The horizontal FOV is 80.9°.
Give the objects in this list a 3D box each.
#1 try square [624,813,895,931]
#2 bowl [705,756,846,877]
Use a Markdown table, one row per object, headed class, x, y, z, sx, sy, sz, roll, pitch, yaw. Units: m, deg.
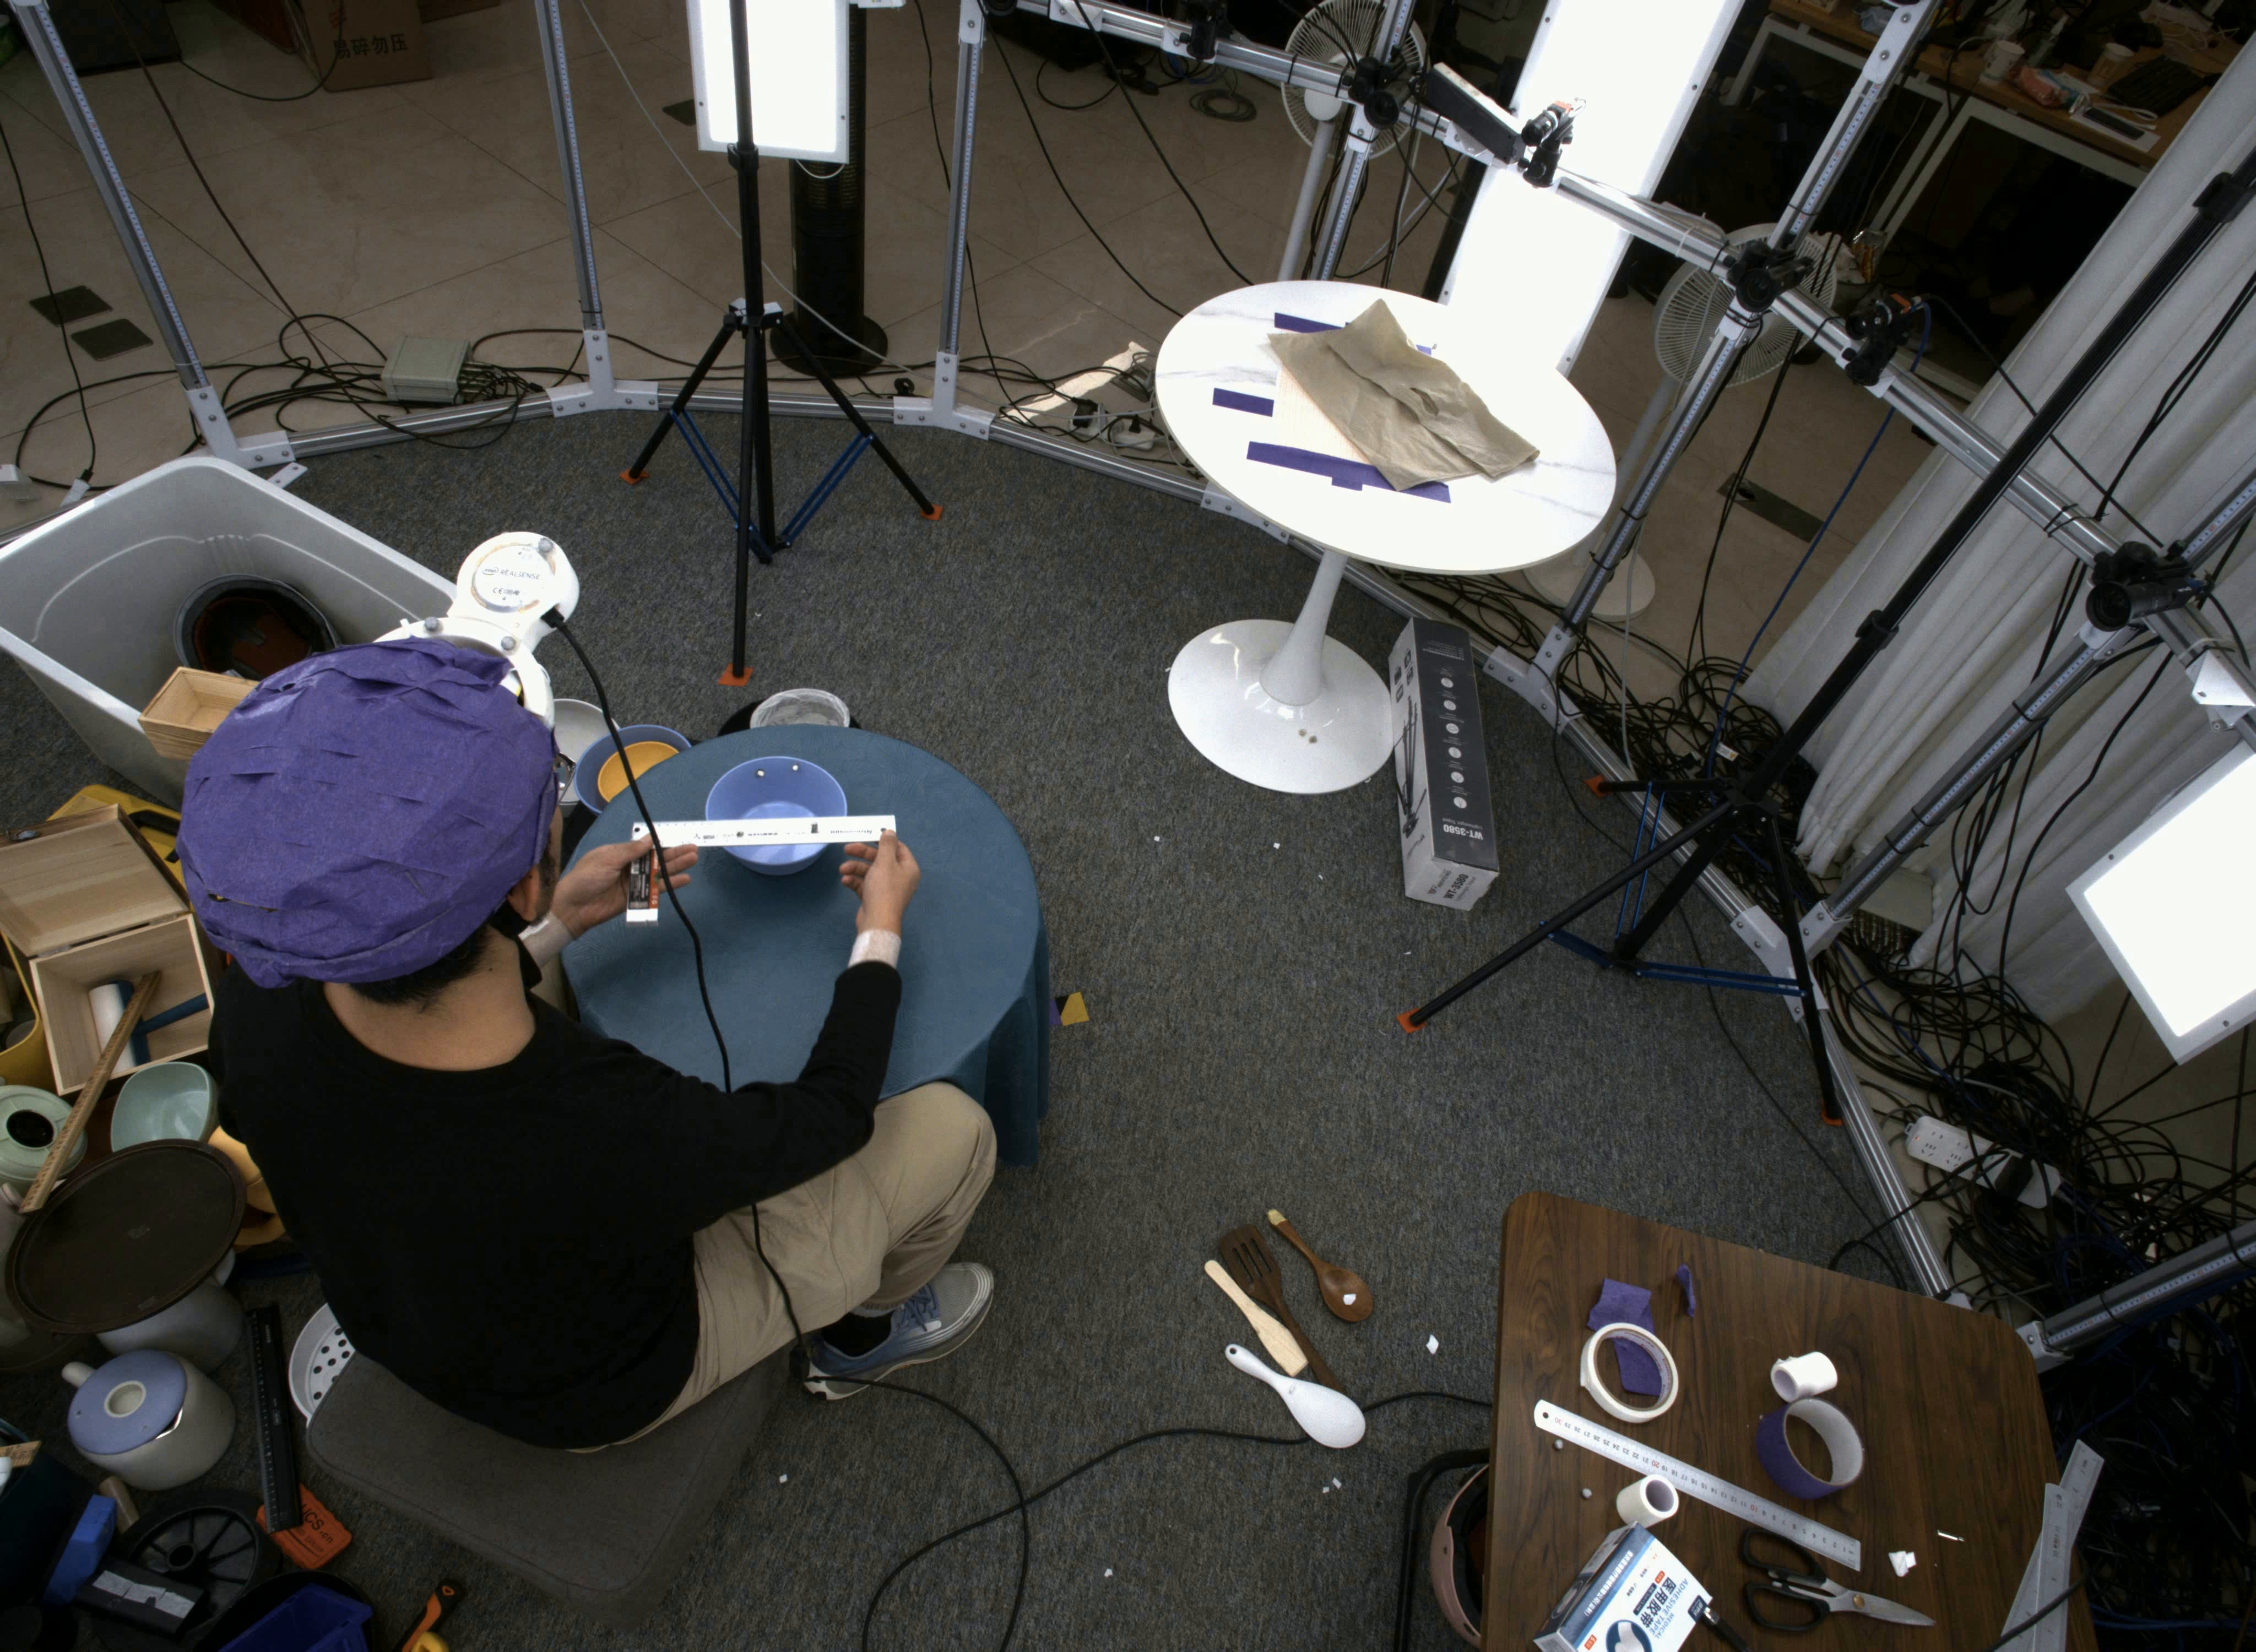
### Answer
| class | x | y | z | sx | sy | sz | roll | pitch | yaw |
| --- | --- | --- | --- | --- | --- | --- | --- | --- | --- |
| try square | -0.428 | 0.047 | 1.518 | 0.314 | 0.016 | 0.149 | -2 | 54 | -16 |
| bowl | -0.453 | -0.003 | 1.668 | 0.176 | 0.071 | 0.173 | 8 | 52 | -9 |
